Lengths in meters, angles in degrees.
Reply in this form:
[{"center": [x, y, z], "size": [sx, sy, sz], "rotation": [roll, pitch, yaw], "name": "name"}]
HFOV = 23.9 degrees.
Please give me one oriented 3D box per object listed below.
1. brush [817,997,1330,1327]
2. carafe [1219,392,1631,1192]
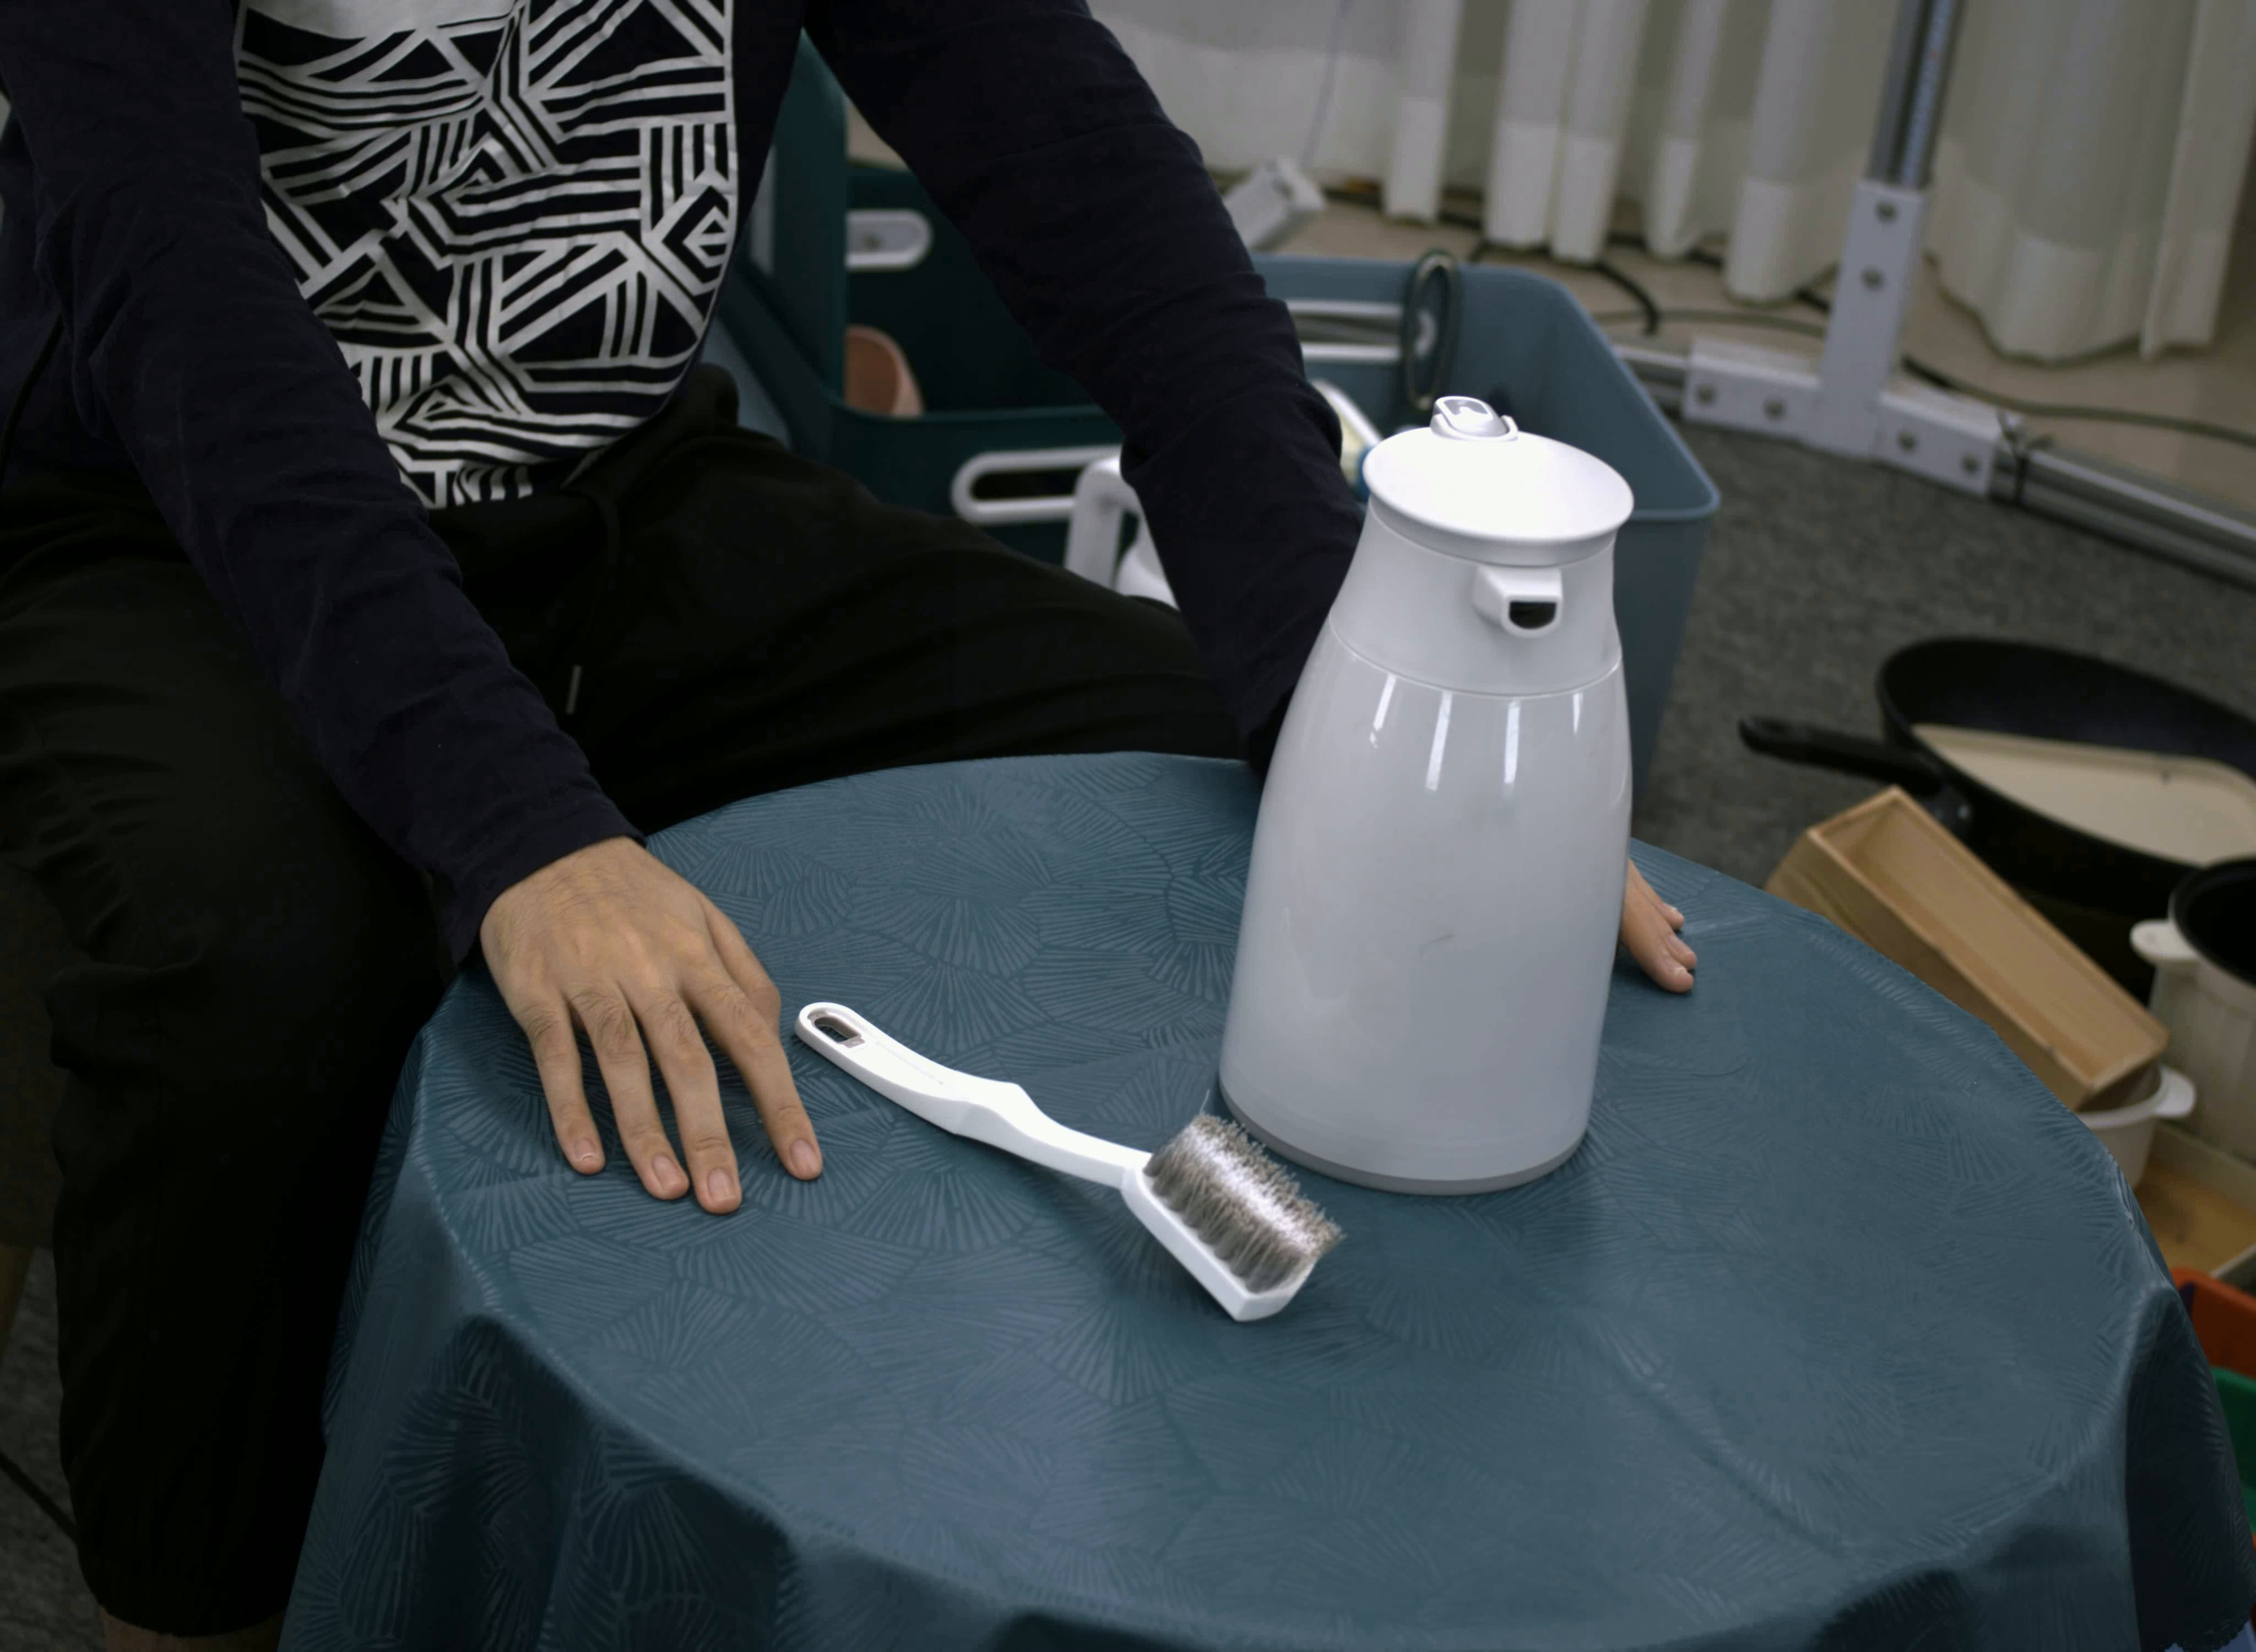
[{"center": [-0.024, 0.096, 1.802], "size": [0.034, 0.050, 0.245], "rotation": [-22, 38, -36], "name": "brush"}, {"center": [0.105, -0.022, 1.842], "size": [0.132, 0.248, 0.169], "rotation": [0, 27, -13], "name": "carafe"}]
